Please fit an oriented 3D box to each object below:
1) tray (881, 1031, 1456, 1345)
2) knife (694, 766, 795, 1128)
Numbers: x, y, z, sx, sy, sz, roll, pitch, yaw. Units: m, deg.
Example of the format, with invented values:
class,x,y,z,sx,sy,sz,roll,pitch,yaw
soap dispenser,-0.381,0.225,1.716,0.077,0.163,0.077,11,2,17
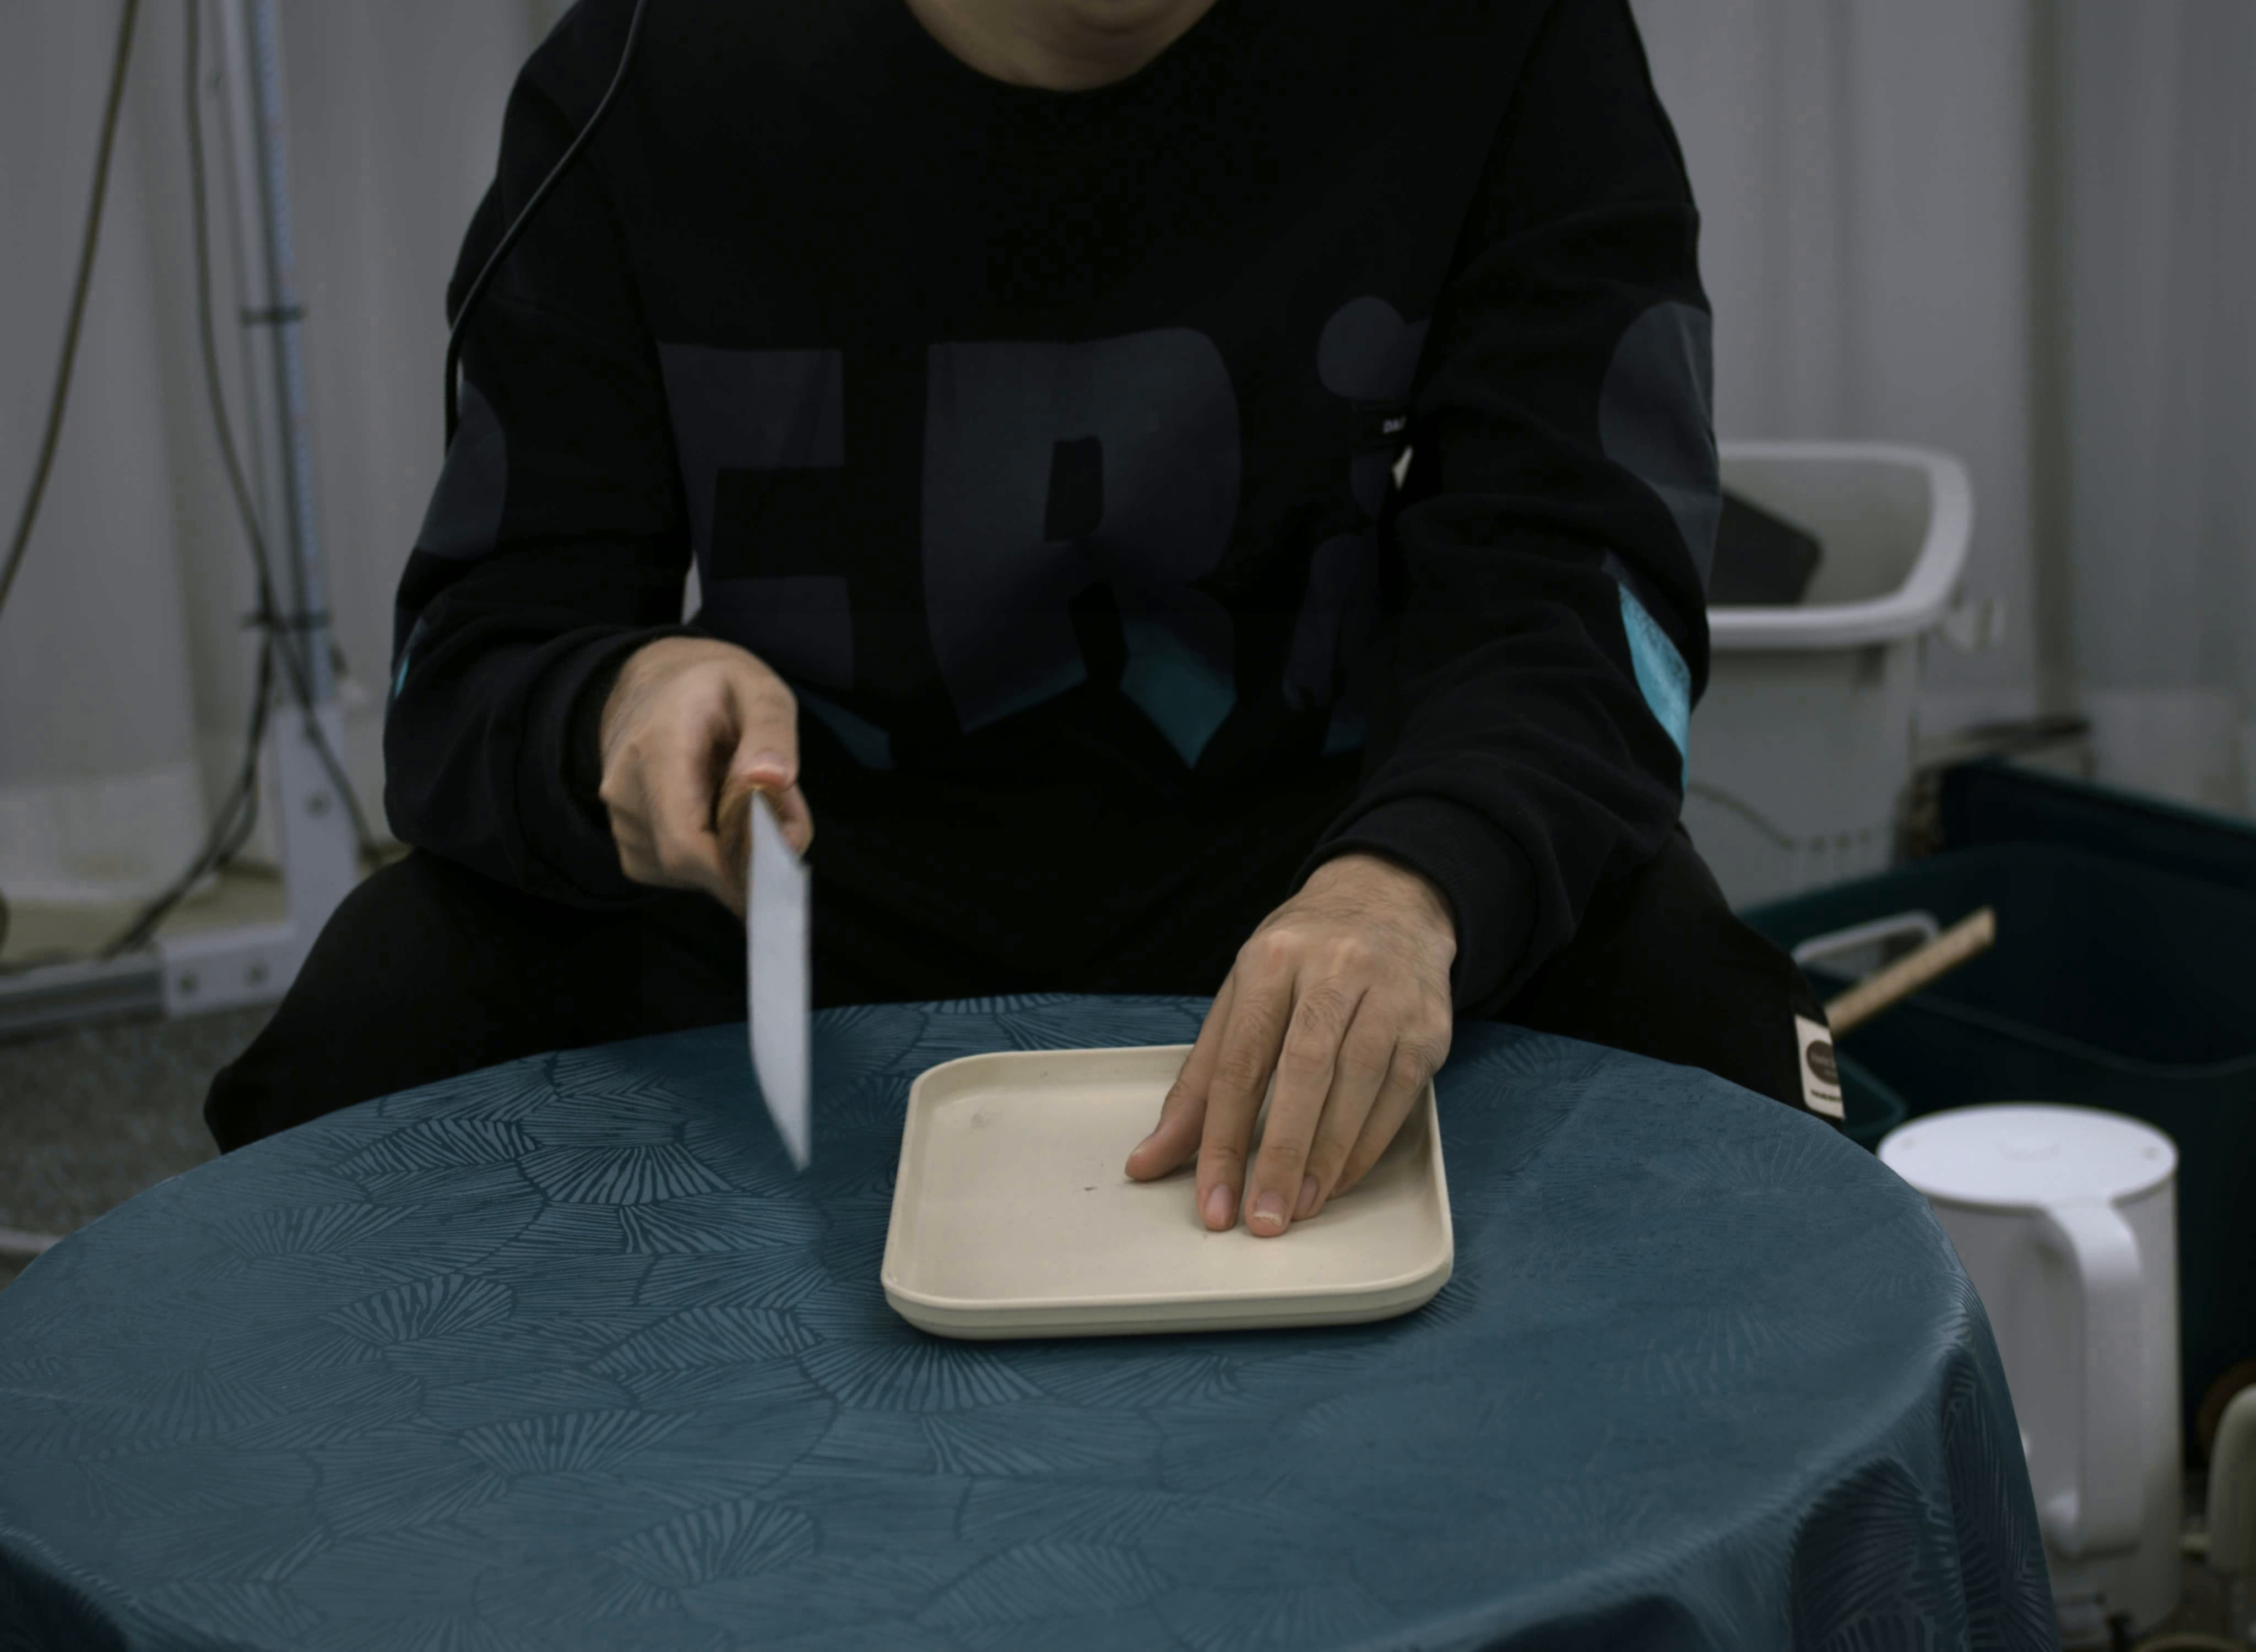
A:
class,x,y,z,sx,sy,sz,roll,pitch,yaw
tray,0.014,0.111,1.689,0.171,0.017,0.241,-4,16,3
knife,-0.118,0.037,1.713,0.021,0.093,0.307,-1,8,-8
